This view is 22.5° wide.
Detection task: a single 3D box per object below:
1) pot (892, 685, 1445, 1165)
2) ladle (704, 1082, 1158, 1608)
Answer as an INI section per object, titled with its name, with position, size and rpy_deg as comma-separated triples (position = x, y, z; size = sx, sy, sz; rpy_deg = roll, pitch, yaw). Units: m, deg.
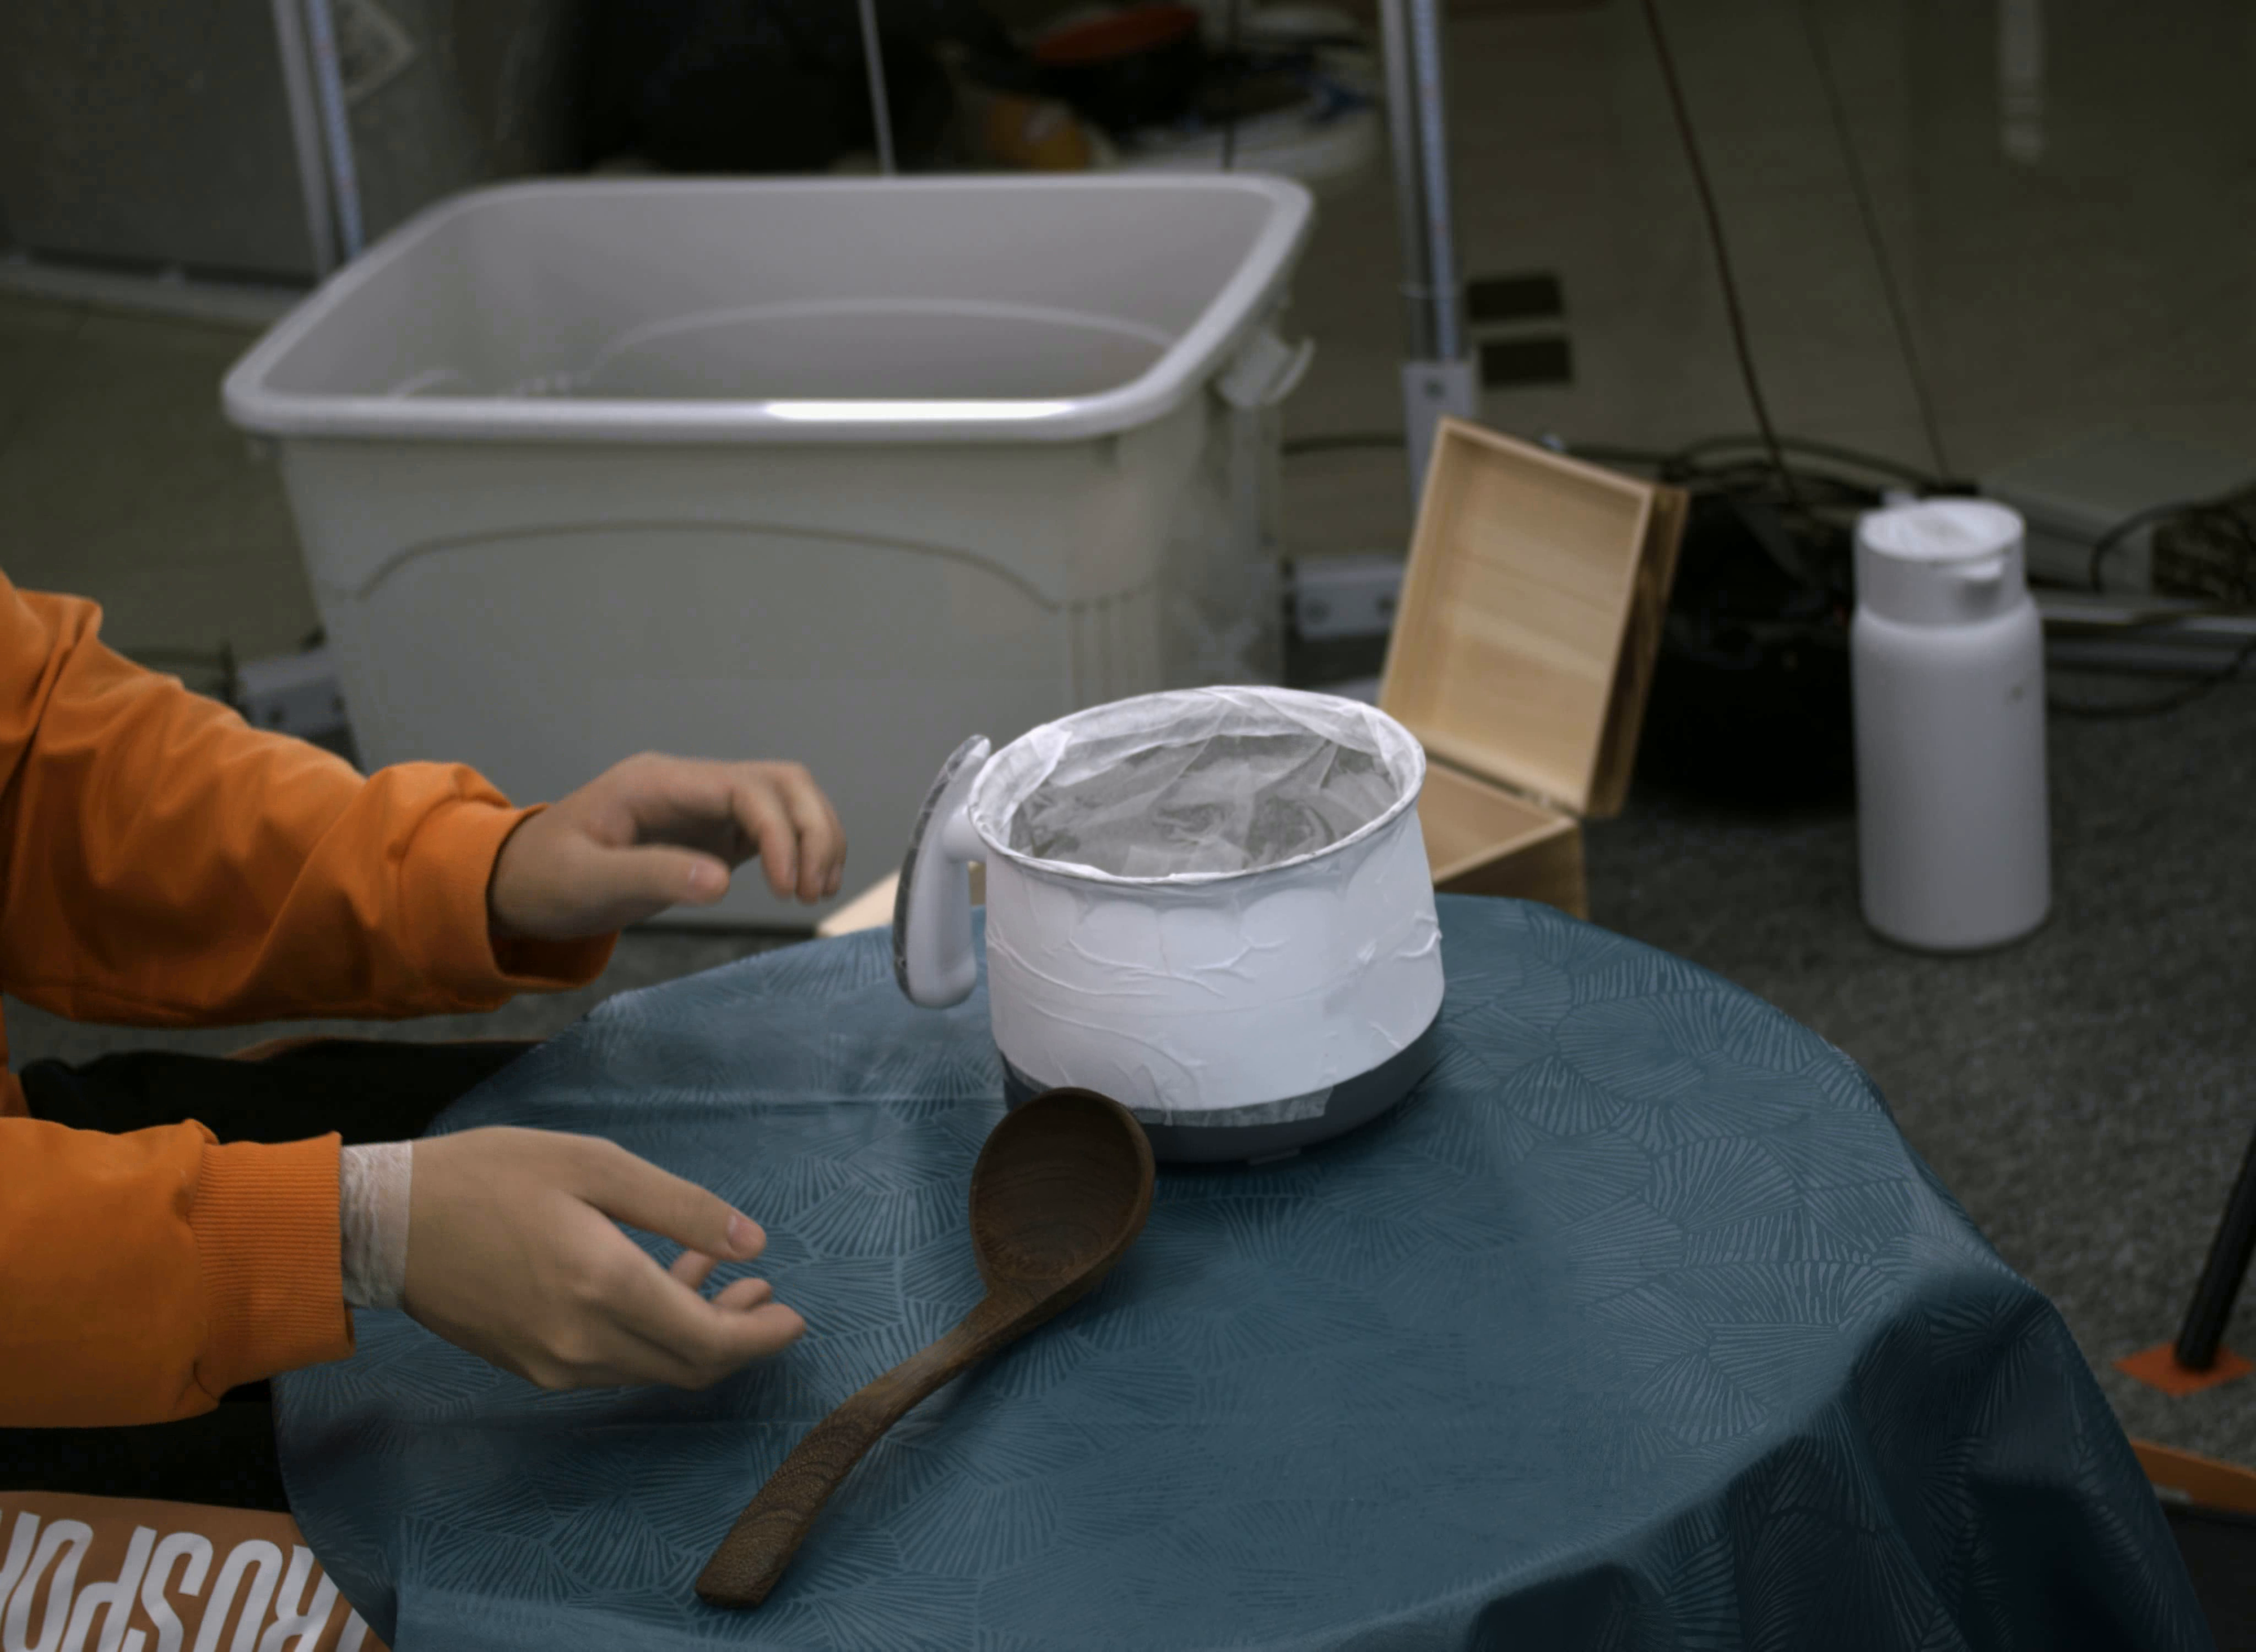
[pot]
position = 0.008, 0.036, 2.200
size = 0.233, 0.139, 0.176
rpy_deg = 8, 29, 28
[ladle]
position = -0.075, 0.177, 2.000
size = 0.076, 0.072, 0.271
rpy_deg = 0, 24, 32
